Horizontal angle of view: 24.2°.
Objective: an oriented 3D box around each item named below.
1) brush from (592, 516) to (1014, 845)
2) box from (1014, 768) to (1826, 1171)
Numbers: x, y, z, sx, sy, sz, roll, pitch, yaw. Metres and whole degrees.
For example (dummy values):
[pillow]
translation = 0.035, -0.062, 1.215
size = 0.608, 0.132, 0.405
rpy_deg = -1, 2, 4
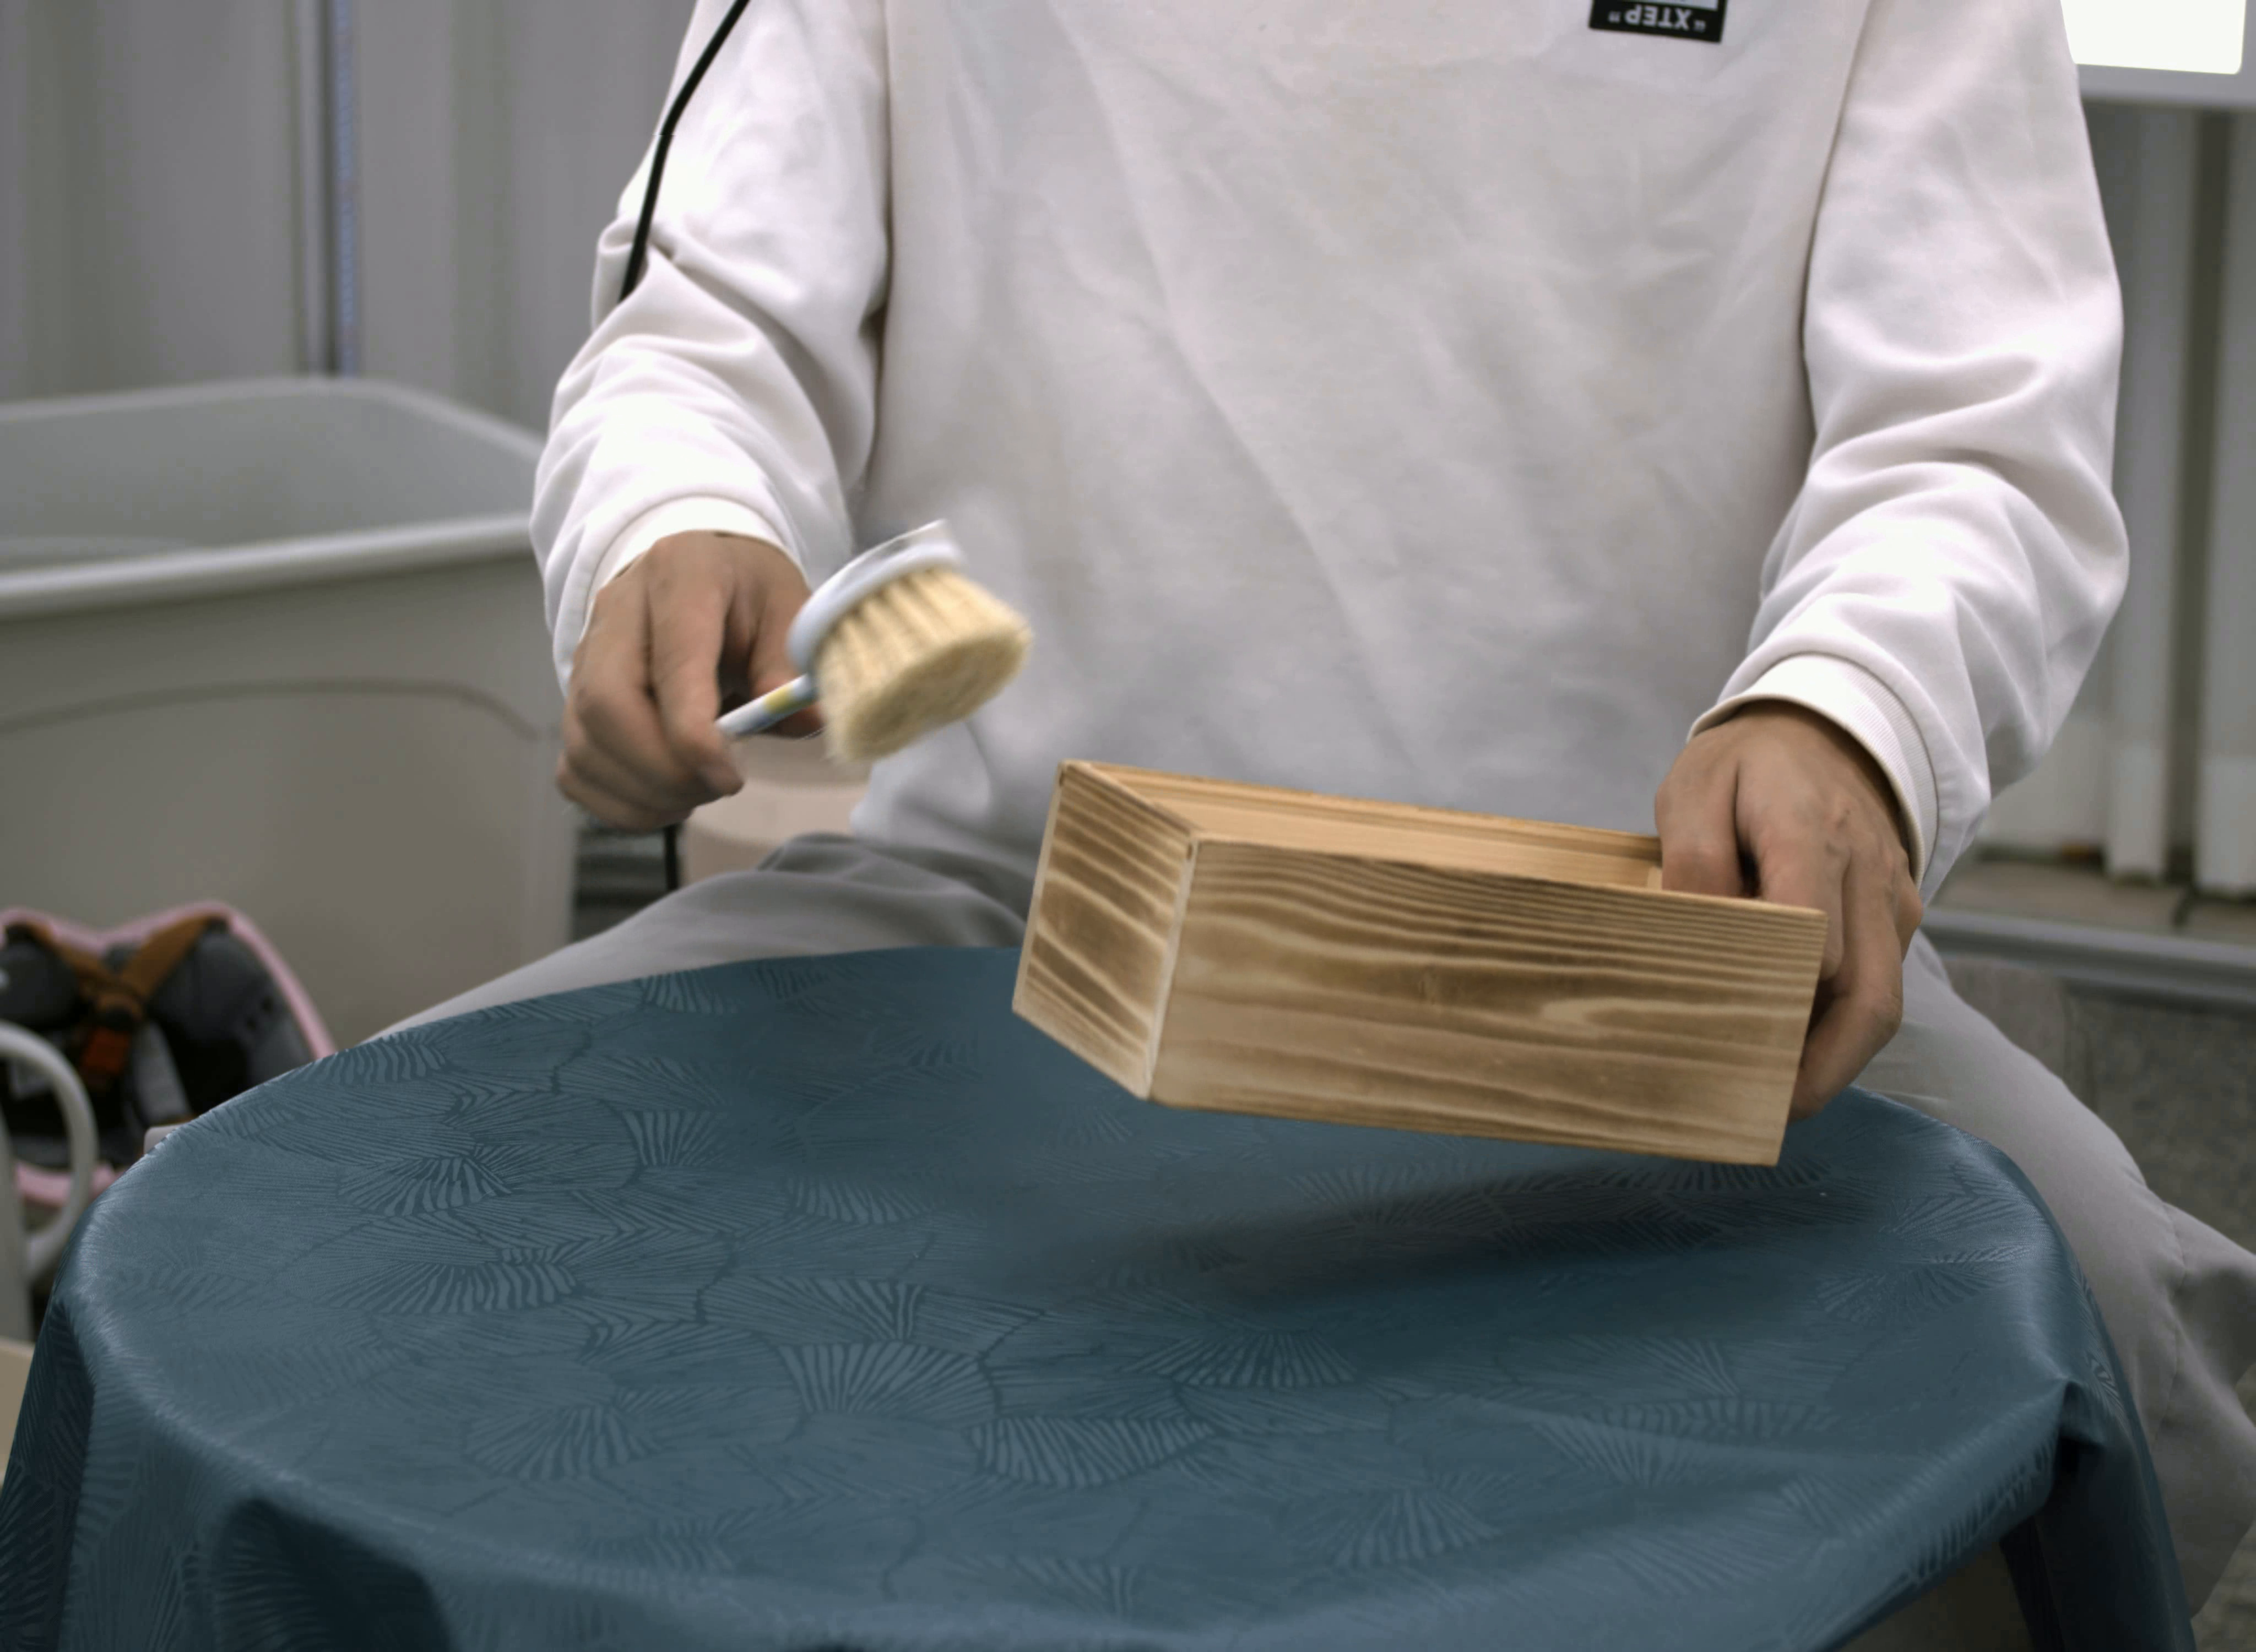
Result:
[brush]
translation = -0.110, -0.022, 1.648
size = 0.069, 0.056, 0.266
rpy_deg = -7, -18, -28
[box]
translation = 0.087, 0.043, 1.573
size = 0.213, 0.080, 0.106
rpy_deg = 7, 10, -27
